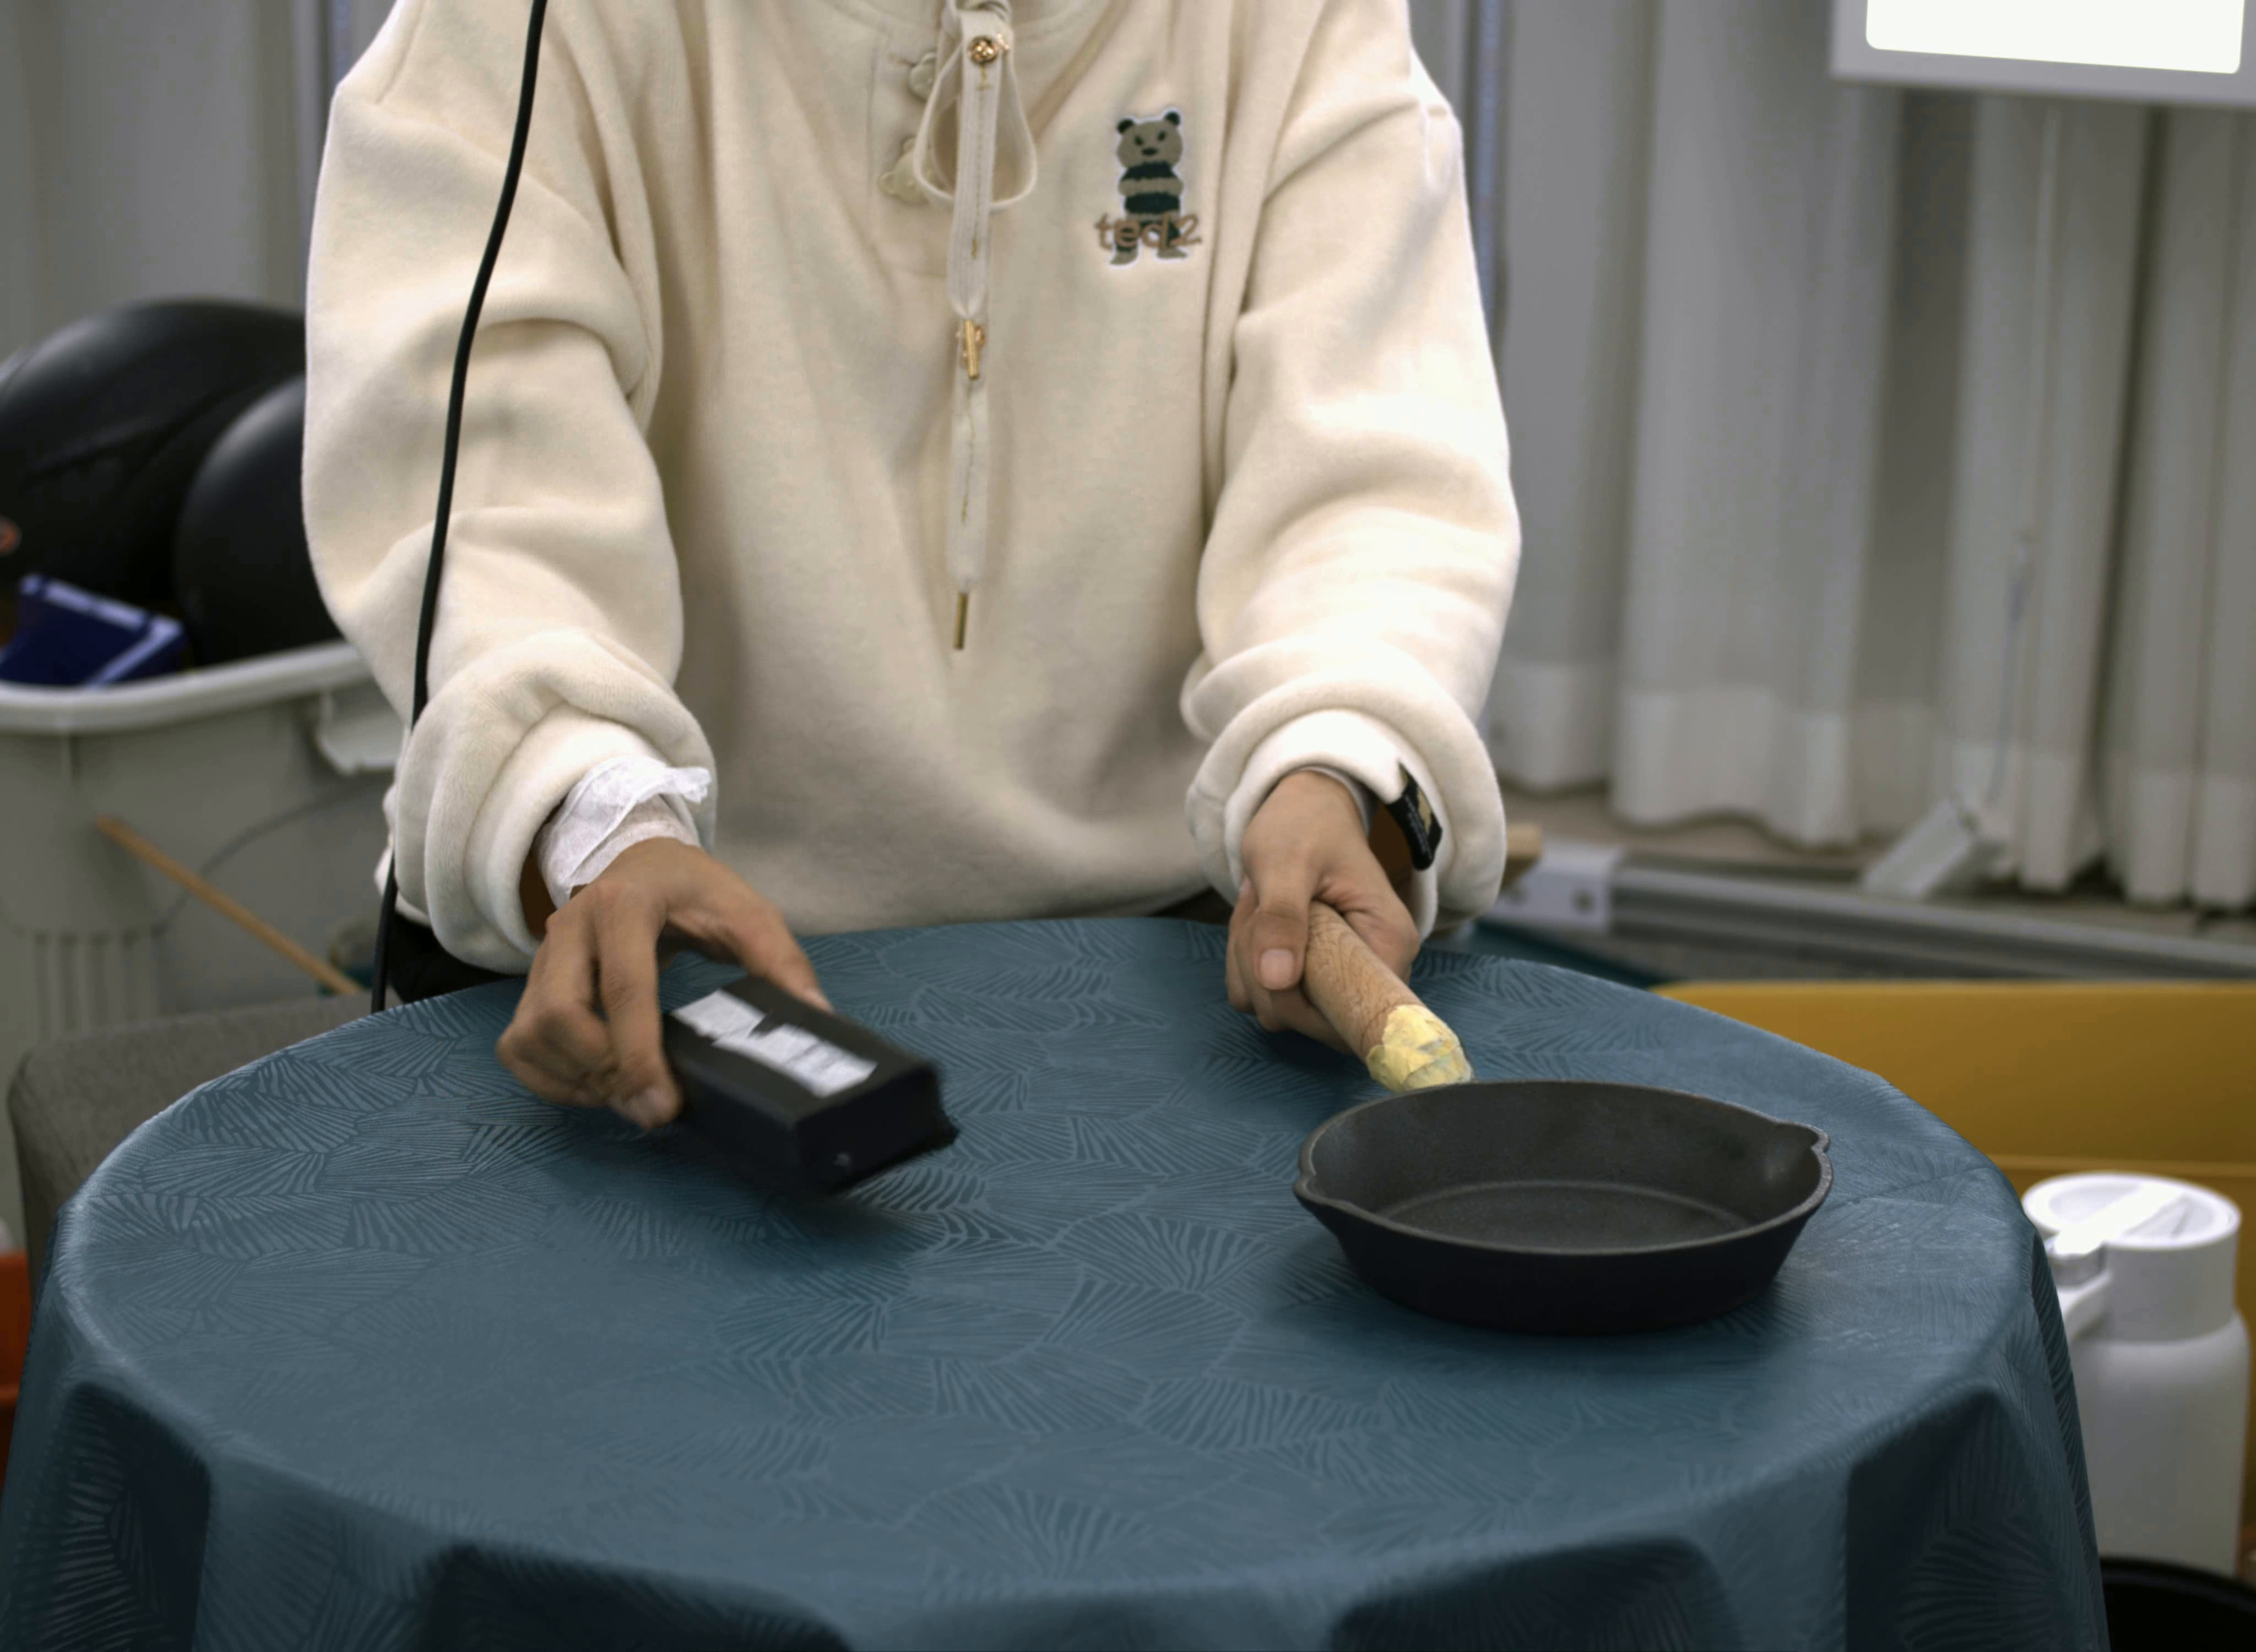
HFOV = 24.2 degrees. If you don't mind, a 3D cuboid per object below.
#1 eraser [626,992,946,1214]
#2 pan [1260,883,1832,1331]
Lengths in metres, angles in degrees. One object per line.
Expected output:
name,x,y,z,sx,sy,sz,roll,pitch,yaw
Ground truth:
eraser,-0.105,0.084,1.617,0.053,0.031,0.124,-22,21,-23
pan,0.104,0.083,1.631,0.169,0.050,0.320,-5,17,-17
